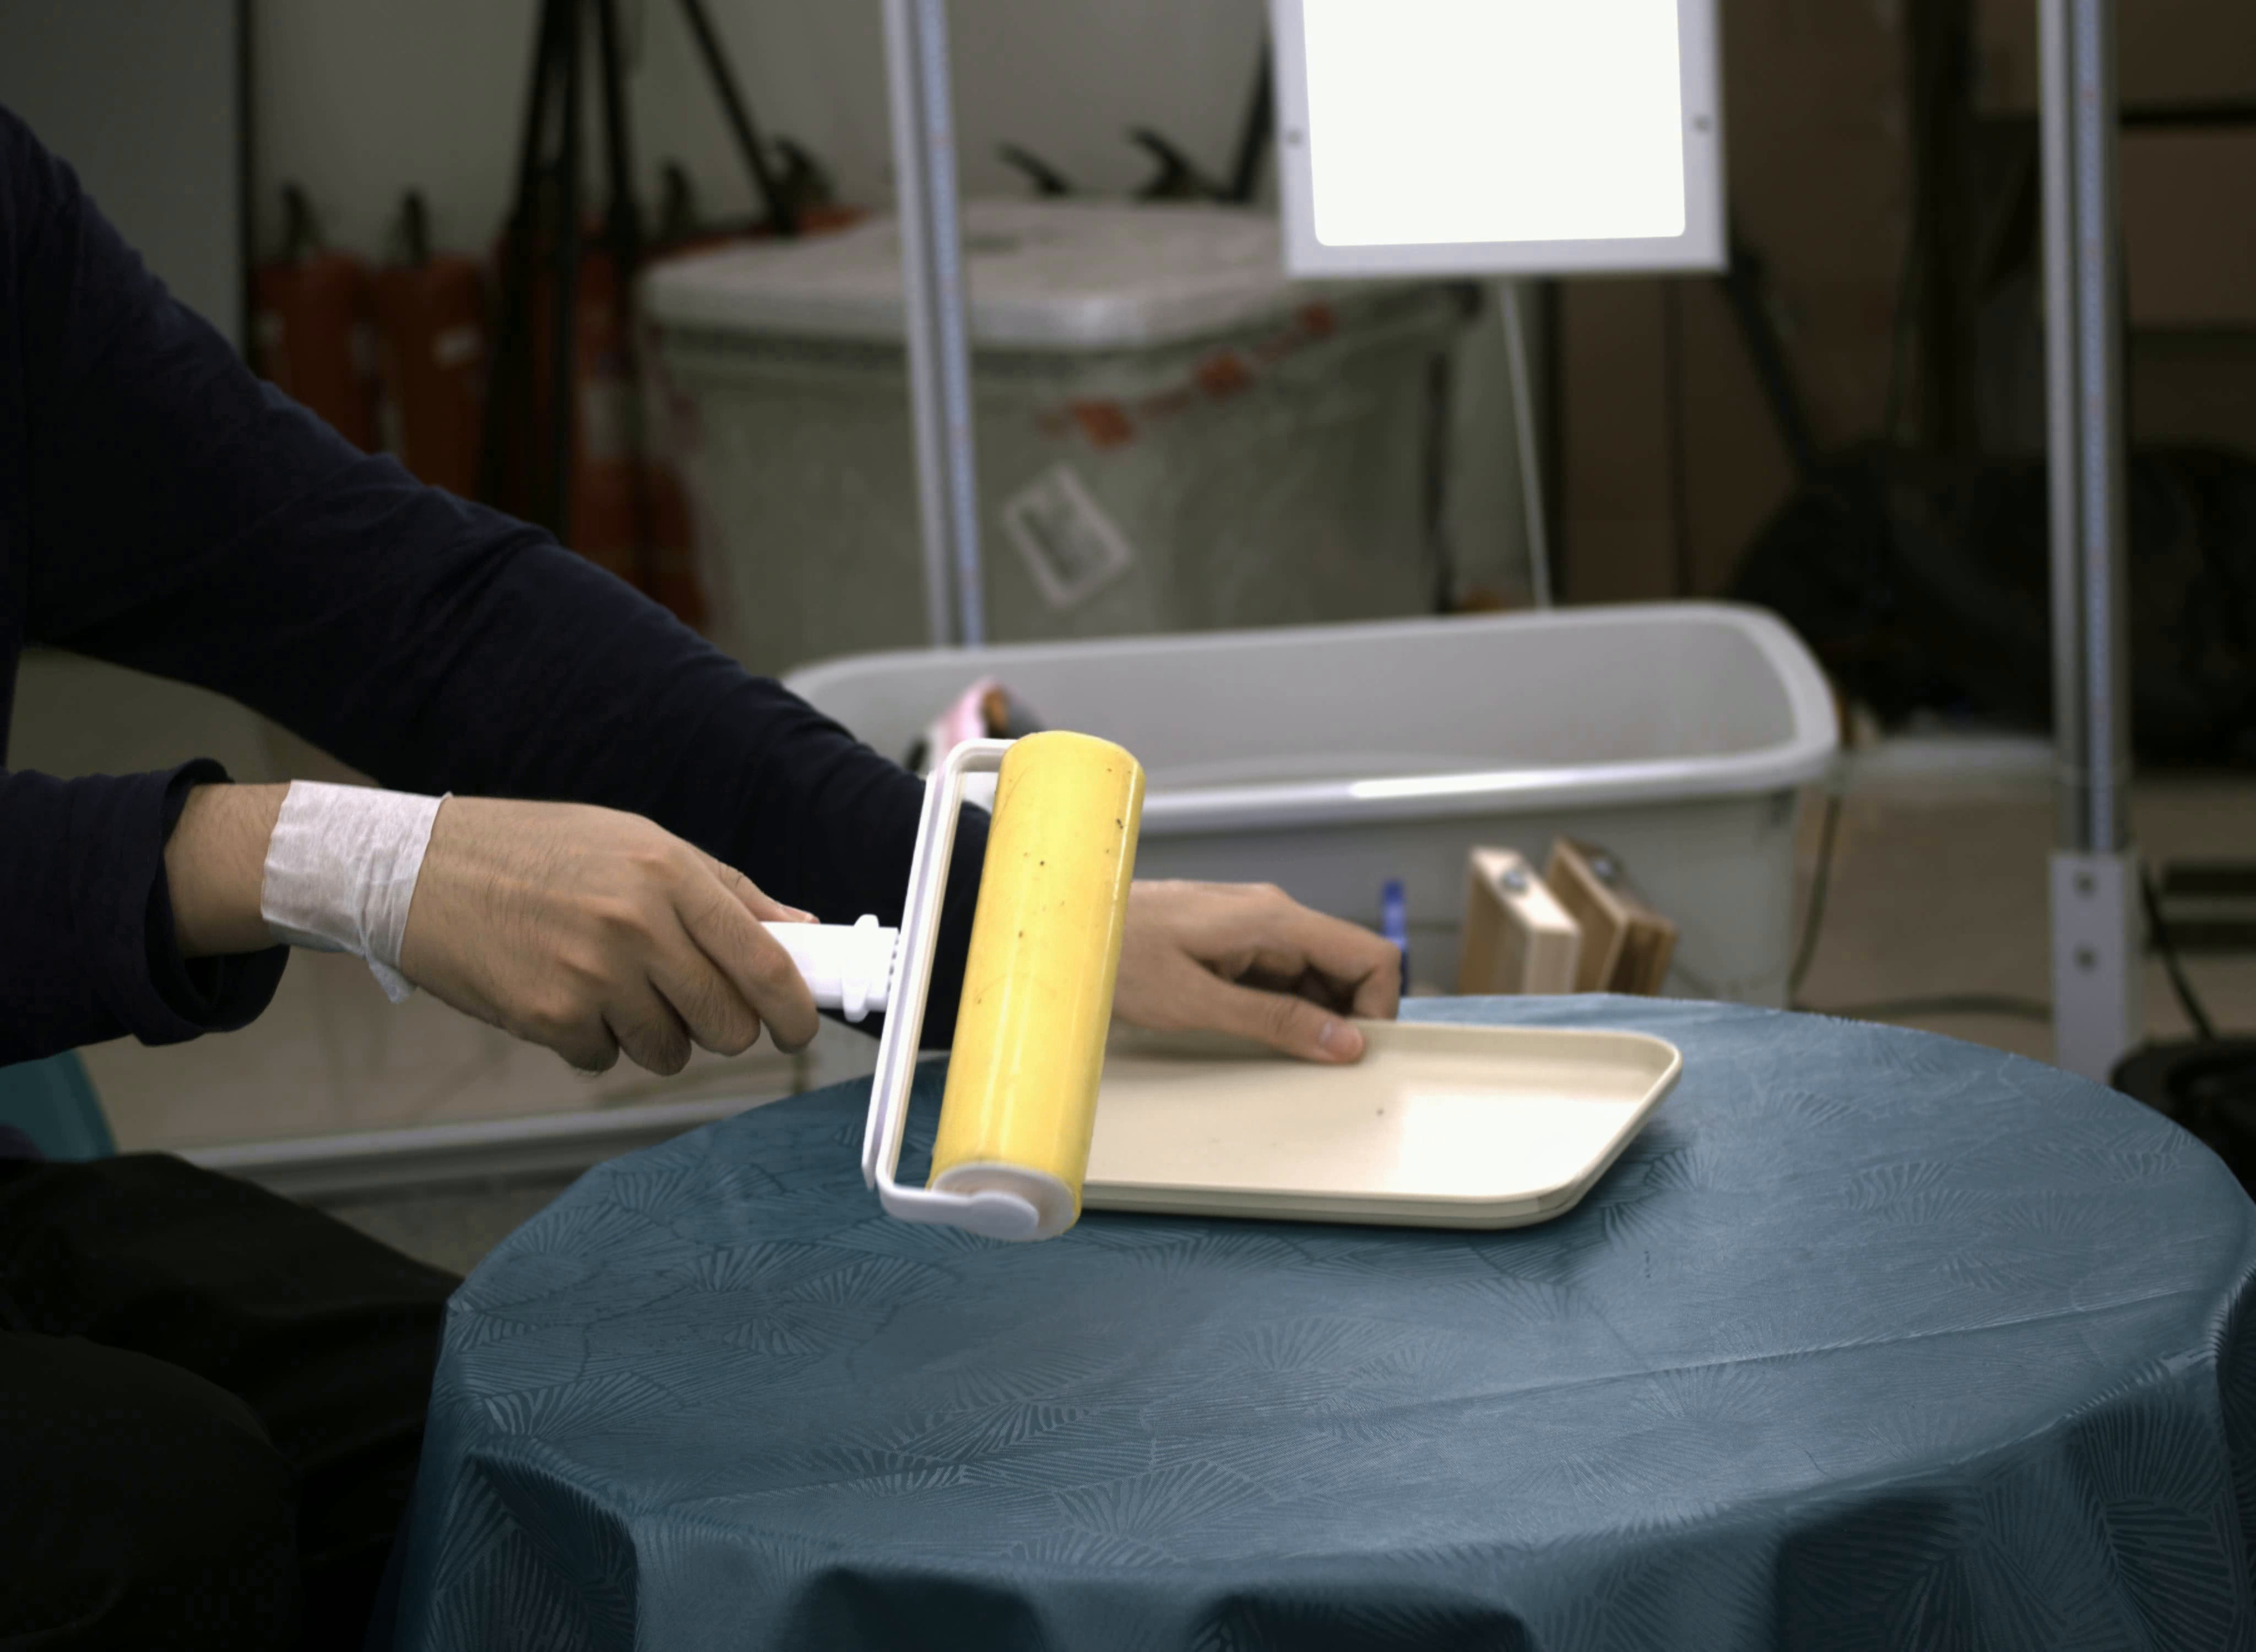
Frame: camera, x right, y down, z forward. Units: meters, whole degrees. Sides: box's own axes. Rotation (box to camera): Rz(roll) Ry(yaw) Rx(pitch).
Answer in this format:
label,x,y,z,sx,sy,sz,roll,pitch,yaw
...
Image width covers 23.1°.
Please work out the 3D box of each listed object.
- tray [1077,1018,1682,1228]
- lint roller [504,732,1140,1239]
label,x,y,z,sx,sy,sz,roll,pitch,yaw
tray,0.065,0.104,1.924,0.243,0.017,0.168,1,17,24
lint roller,-0.098,0.039,1.710,0.191,0.052,0.173,8,54,0
